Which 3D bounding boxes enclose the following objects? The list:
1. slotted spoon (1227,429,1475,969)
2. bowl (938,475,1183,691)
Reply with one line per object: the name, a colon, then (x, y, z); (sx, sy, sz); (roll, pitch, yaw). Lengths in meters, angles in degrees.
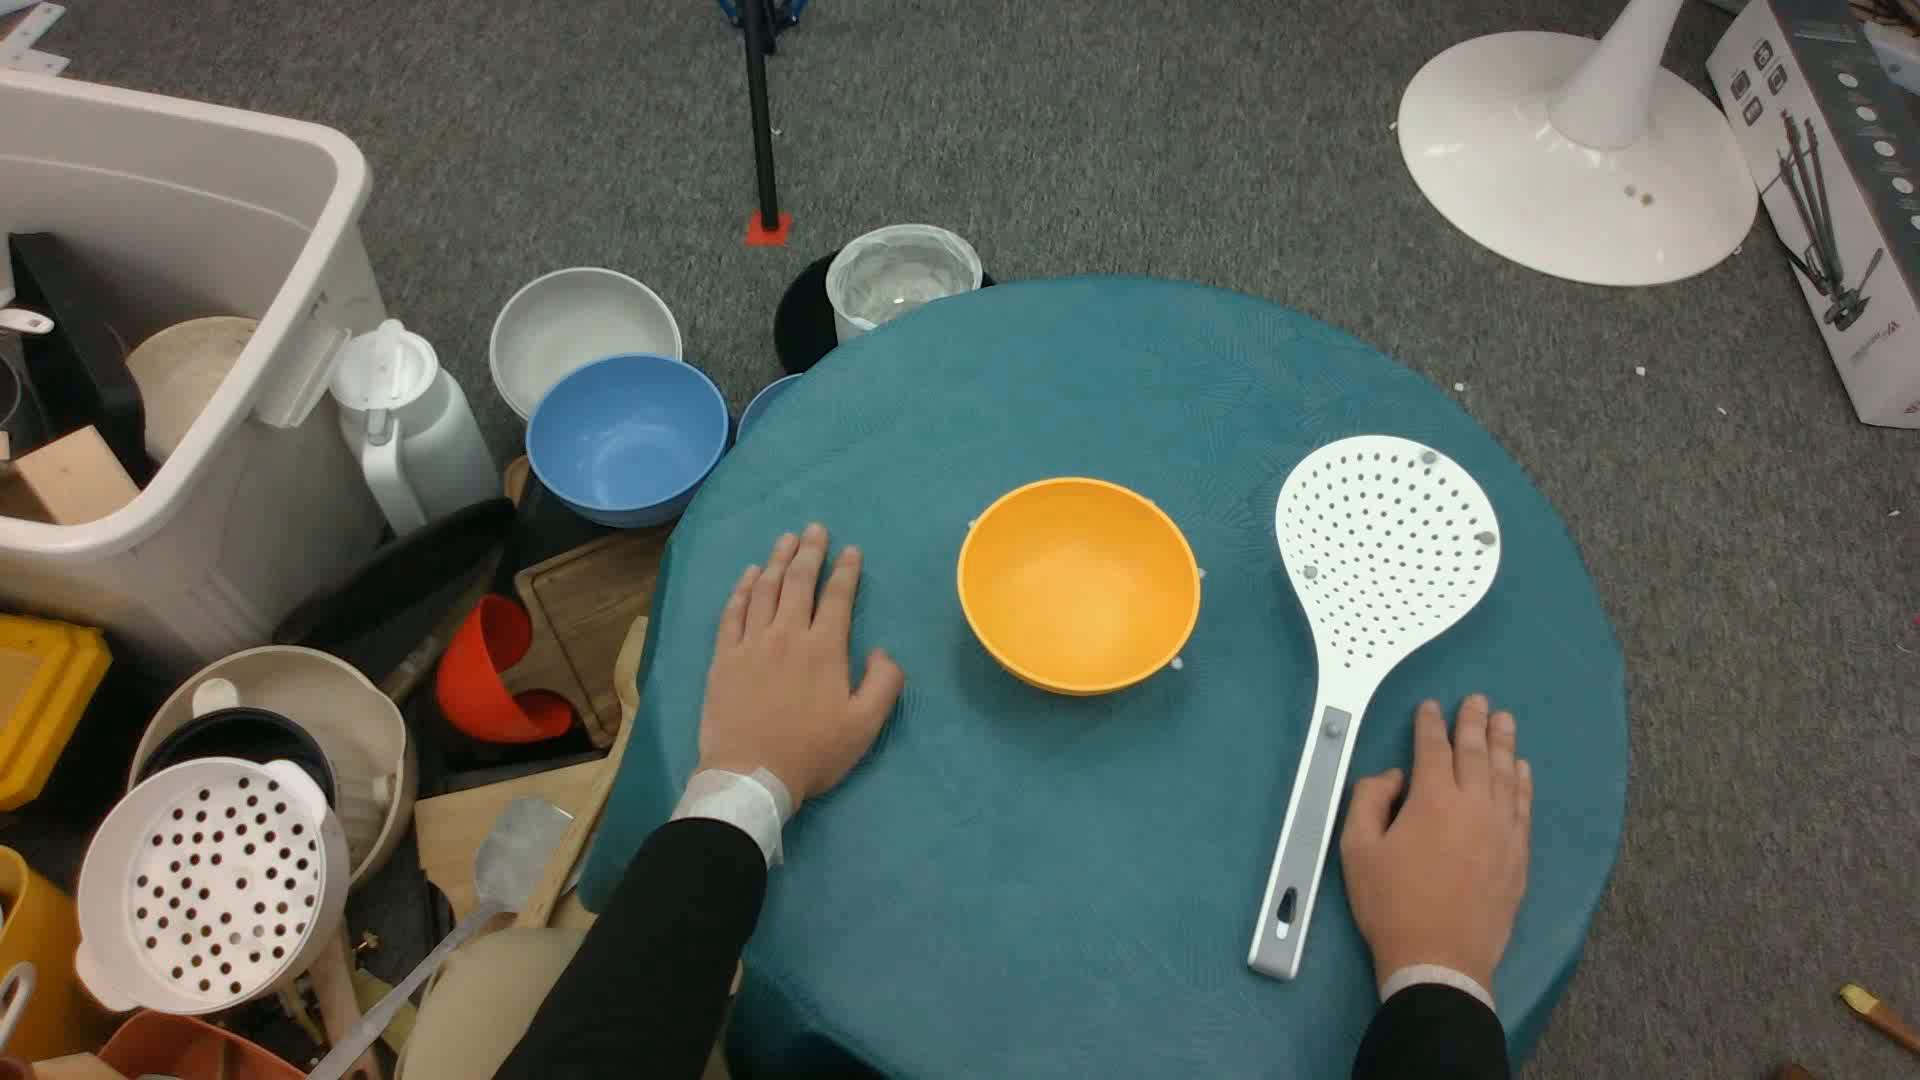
slotted spoon: (0.218, 0.084, 0.822); (0.136, 0.045, 0.351); (18, 60, 8)
bowl: (0.059, 0.035, 0.835); (0.145, 0.060, 0.146); (1, 58, -1)
